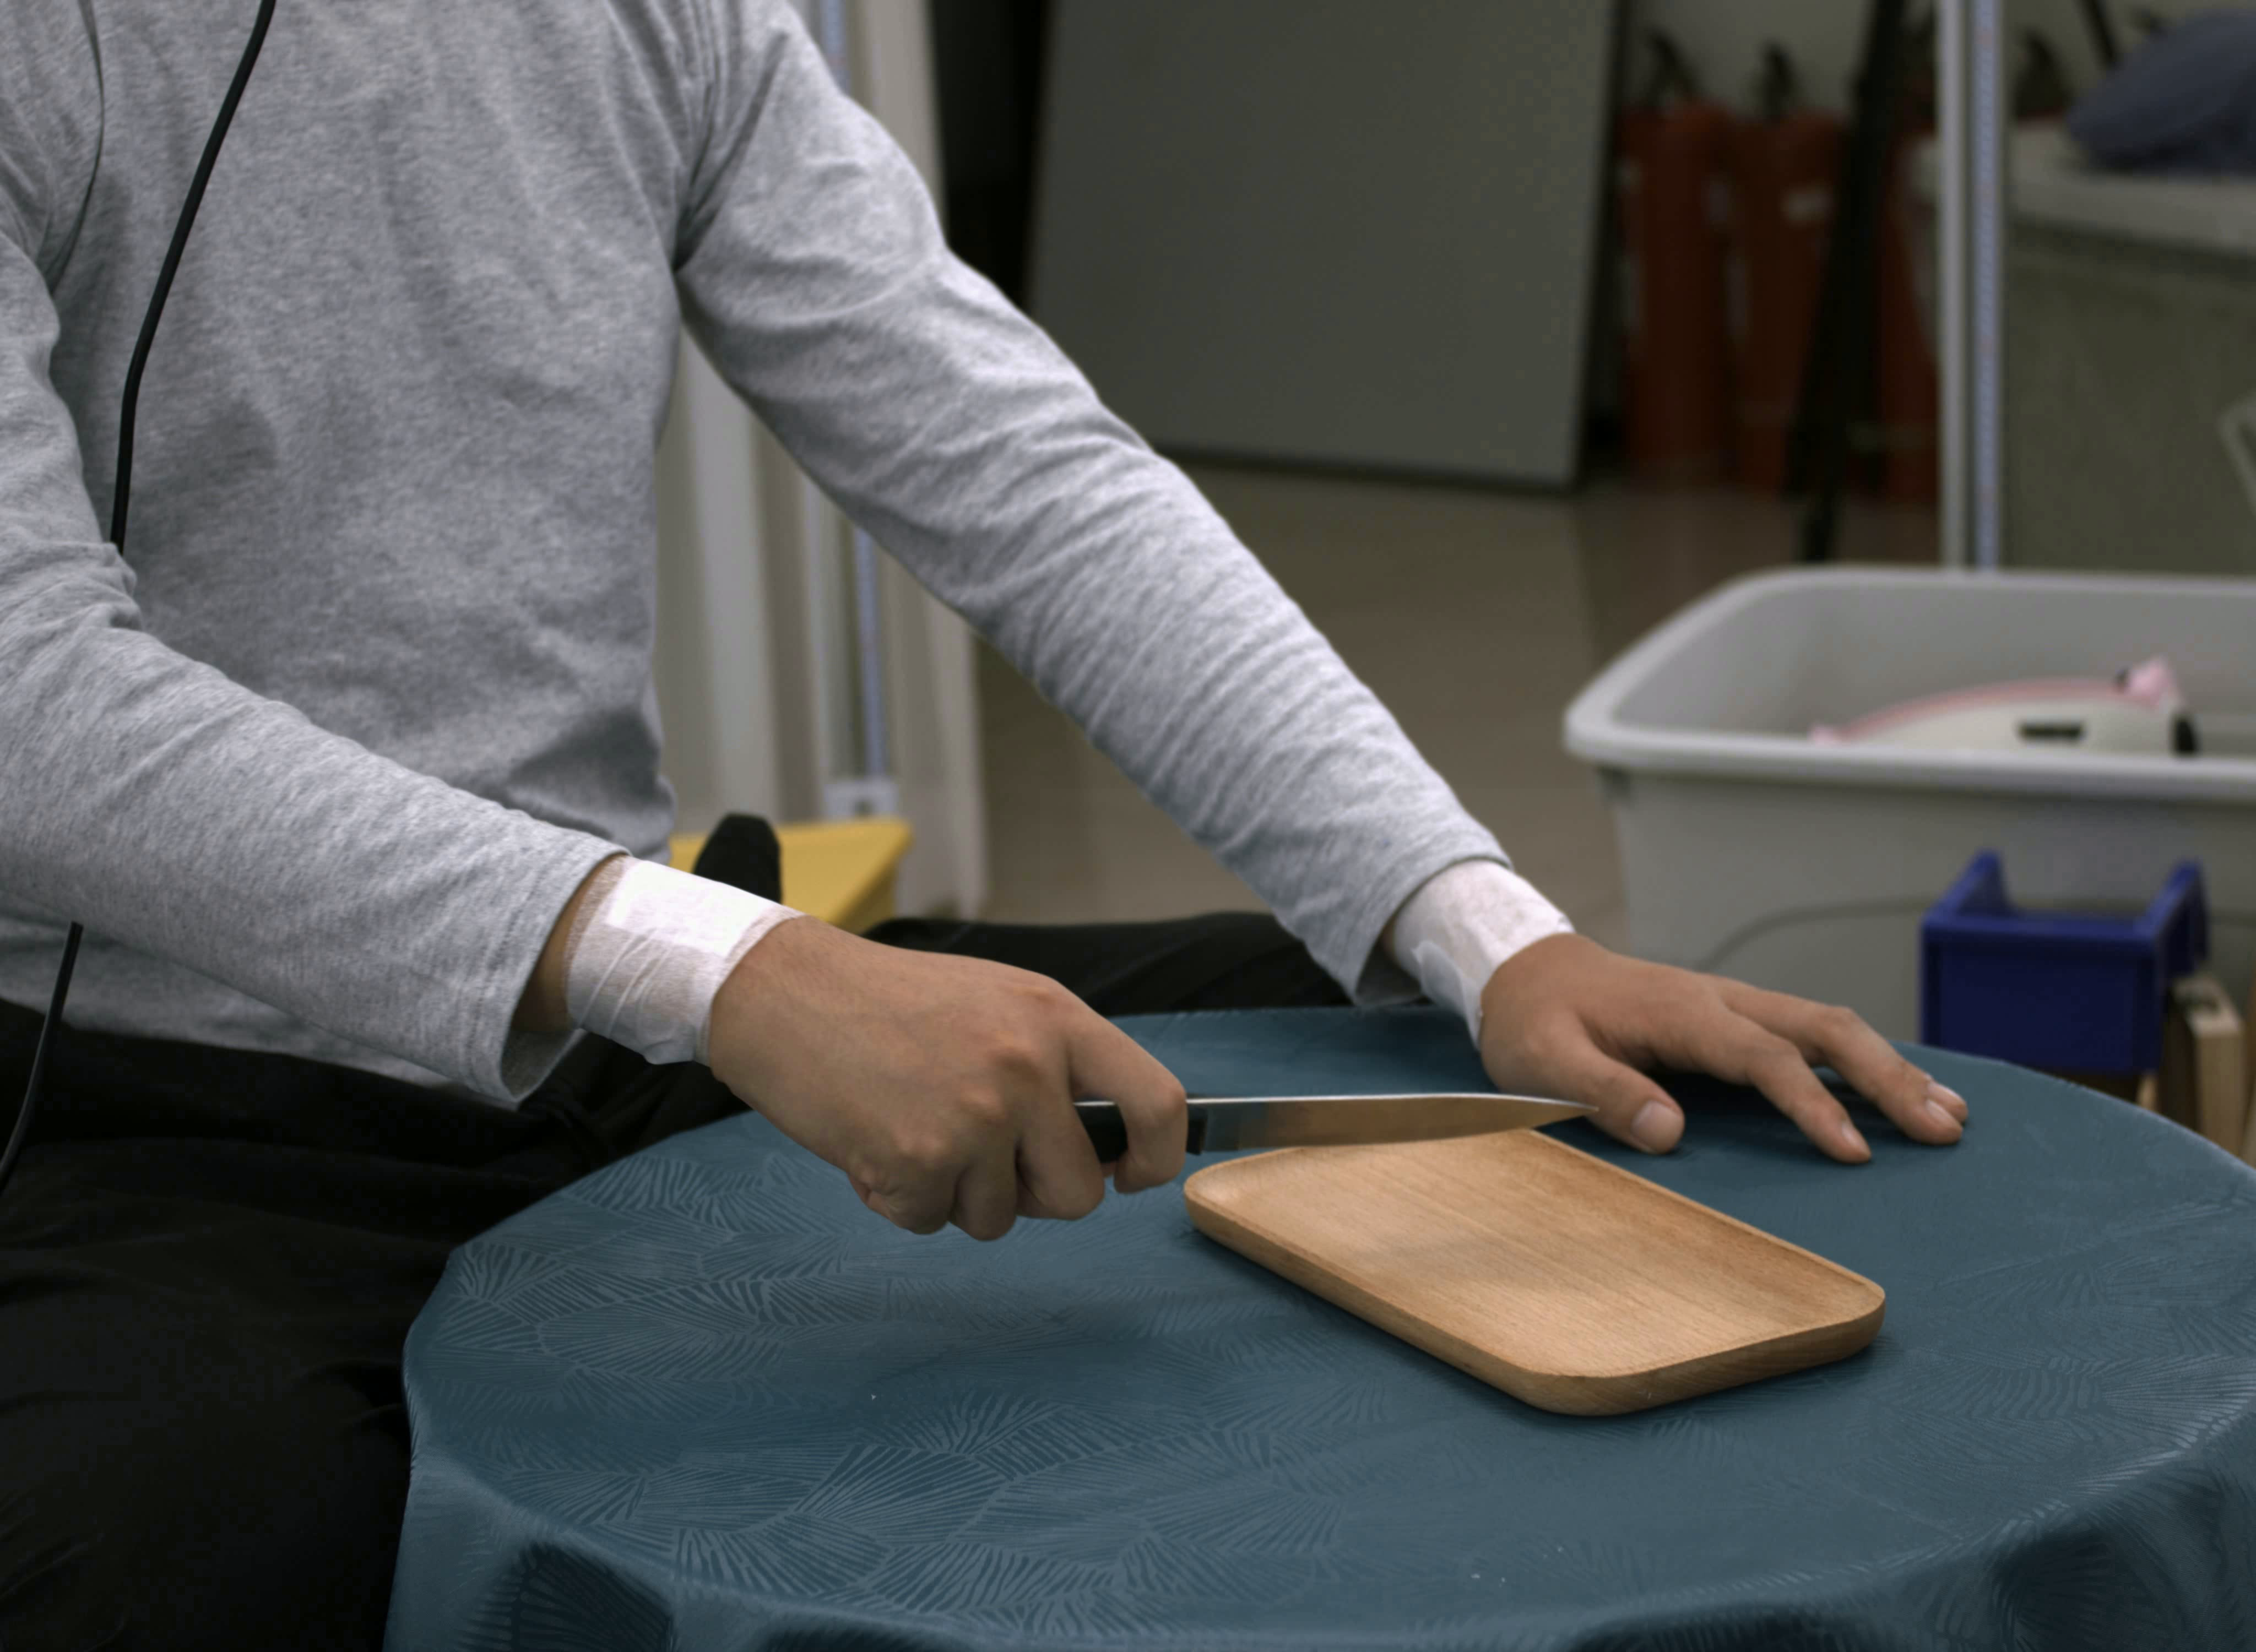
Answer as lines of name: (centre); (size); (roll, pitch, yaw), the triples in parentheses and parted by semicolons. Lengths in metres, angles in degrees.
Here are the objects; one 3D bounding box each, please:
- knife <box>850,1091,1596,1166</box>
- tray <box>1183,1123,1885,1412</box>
knife: (0.032, 0.092, 1.655); (0.234, 0.024, 0.016); (0, 43, -10)
tray: (0.121, 0.132, 1.658); (0.127, 0.023, 0.253); (-7, 13, -25)
